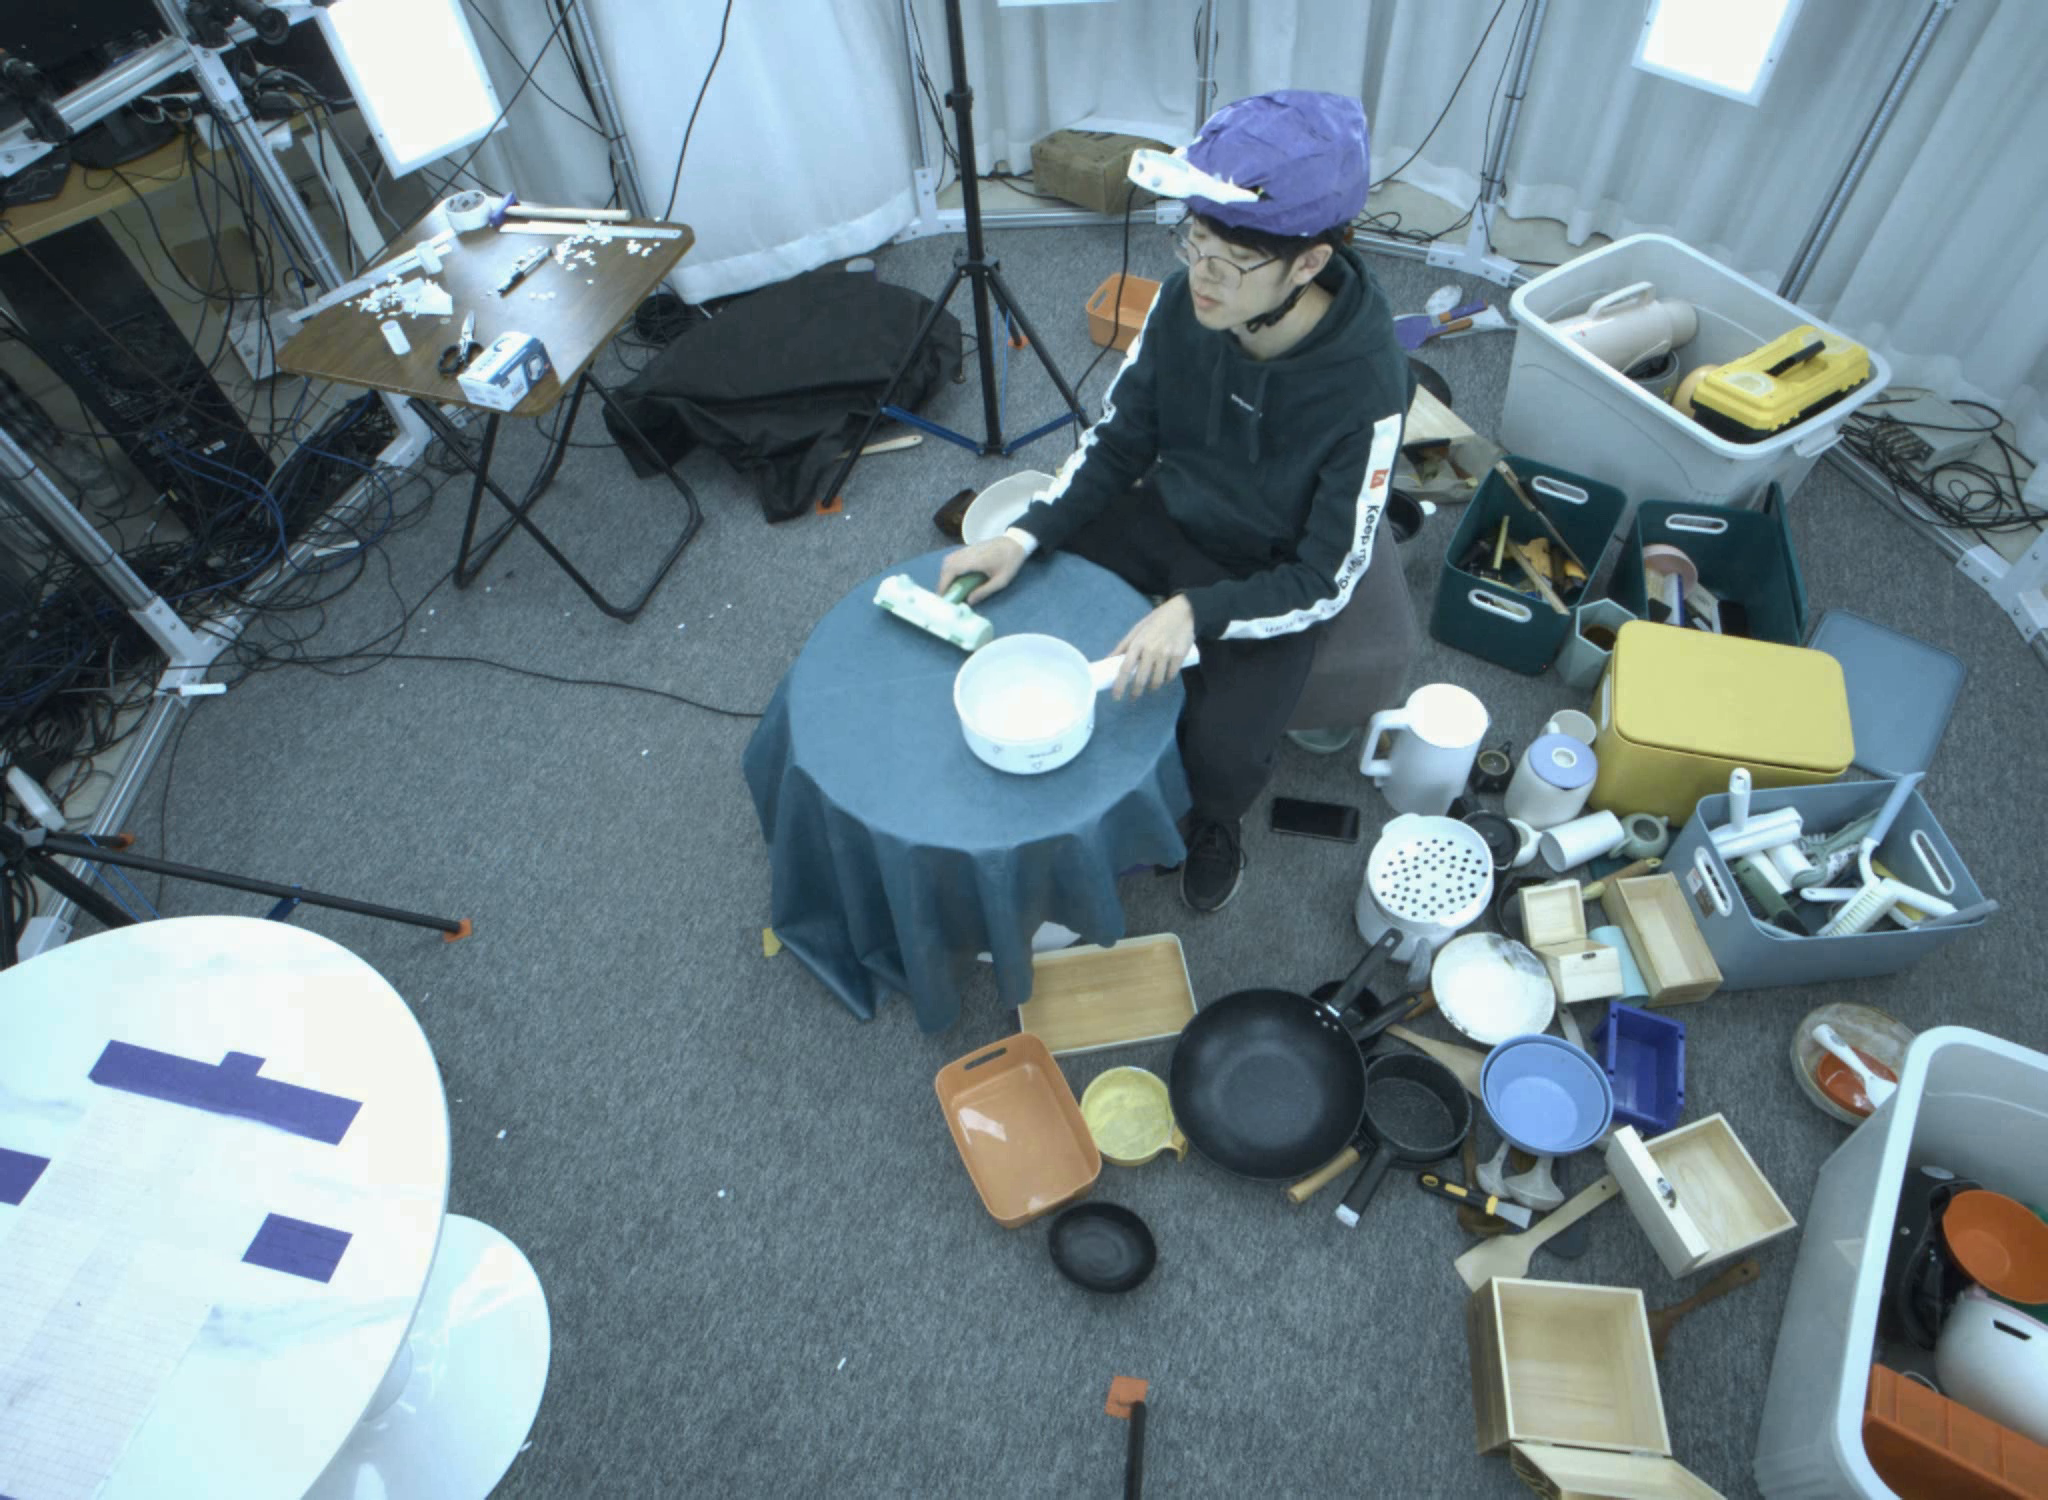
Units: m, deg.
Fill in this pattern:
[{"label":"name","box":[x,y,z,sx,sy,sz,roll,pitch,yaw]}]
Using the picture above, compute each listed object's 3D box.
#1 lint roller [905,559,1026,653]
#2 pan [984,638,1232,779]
[{"label":"lint roller","box":[-0.060,-0.255,1.920,0.195,0.083,0.184,30,66,22]},{"label":"pan","box":[0.121,-0.071,1.770,0.357,0.103,0.198,-12,54,-8]}]
